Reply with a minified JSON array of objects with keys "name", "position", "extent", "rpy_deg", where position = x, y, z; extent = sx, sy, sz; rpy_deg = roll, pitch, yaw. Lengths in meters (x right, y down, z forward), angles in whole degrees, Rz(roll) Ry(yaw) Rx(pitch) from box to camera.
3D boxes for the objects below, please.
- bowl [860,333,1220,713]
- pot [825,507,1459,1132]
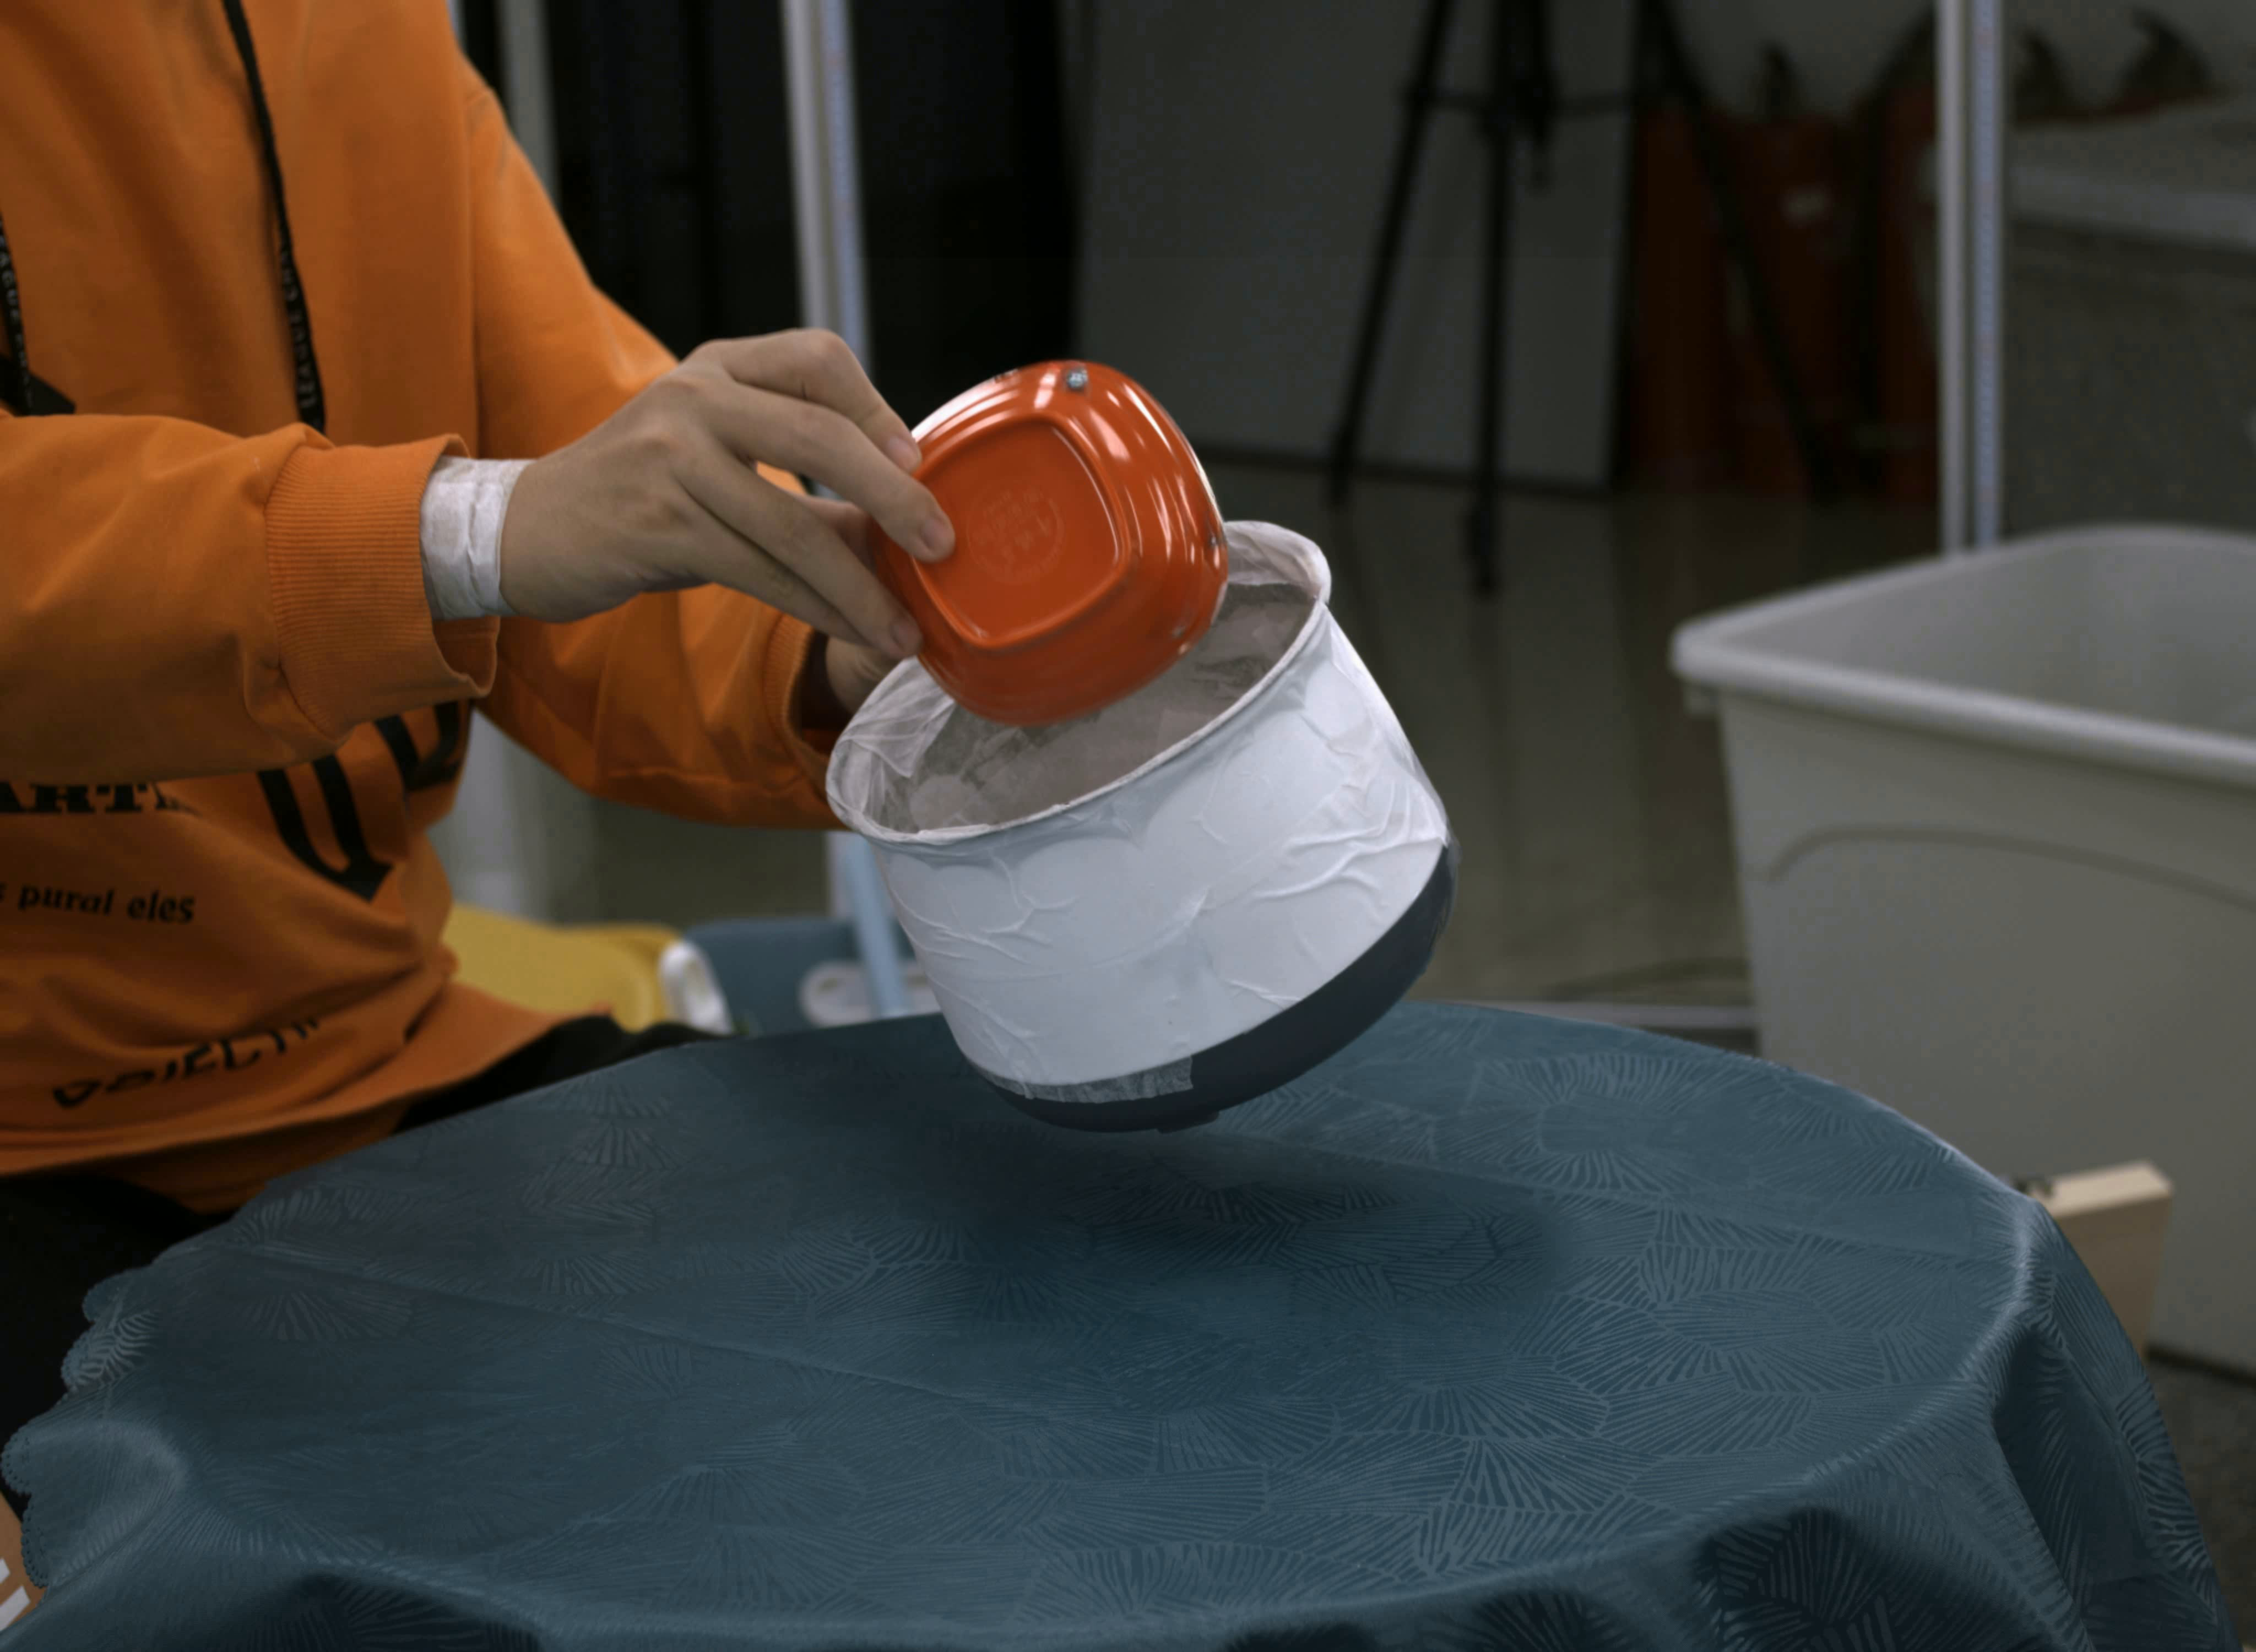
[{"name":"bowl","position":[-0.032,-0.096,1.669],"extent":[0.118,0.120,0.051],"rpy_deg":[0,-3,15]},{"name":"pot","position":[-0.005,-0.004,1.753],"extent":[0.177,0.136,0.236],"rpy_deg":[-35,25,-17]}]
